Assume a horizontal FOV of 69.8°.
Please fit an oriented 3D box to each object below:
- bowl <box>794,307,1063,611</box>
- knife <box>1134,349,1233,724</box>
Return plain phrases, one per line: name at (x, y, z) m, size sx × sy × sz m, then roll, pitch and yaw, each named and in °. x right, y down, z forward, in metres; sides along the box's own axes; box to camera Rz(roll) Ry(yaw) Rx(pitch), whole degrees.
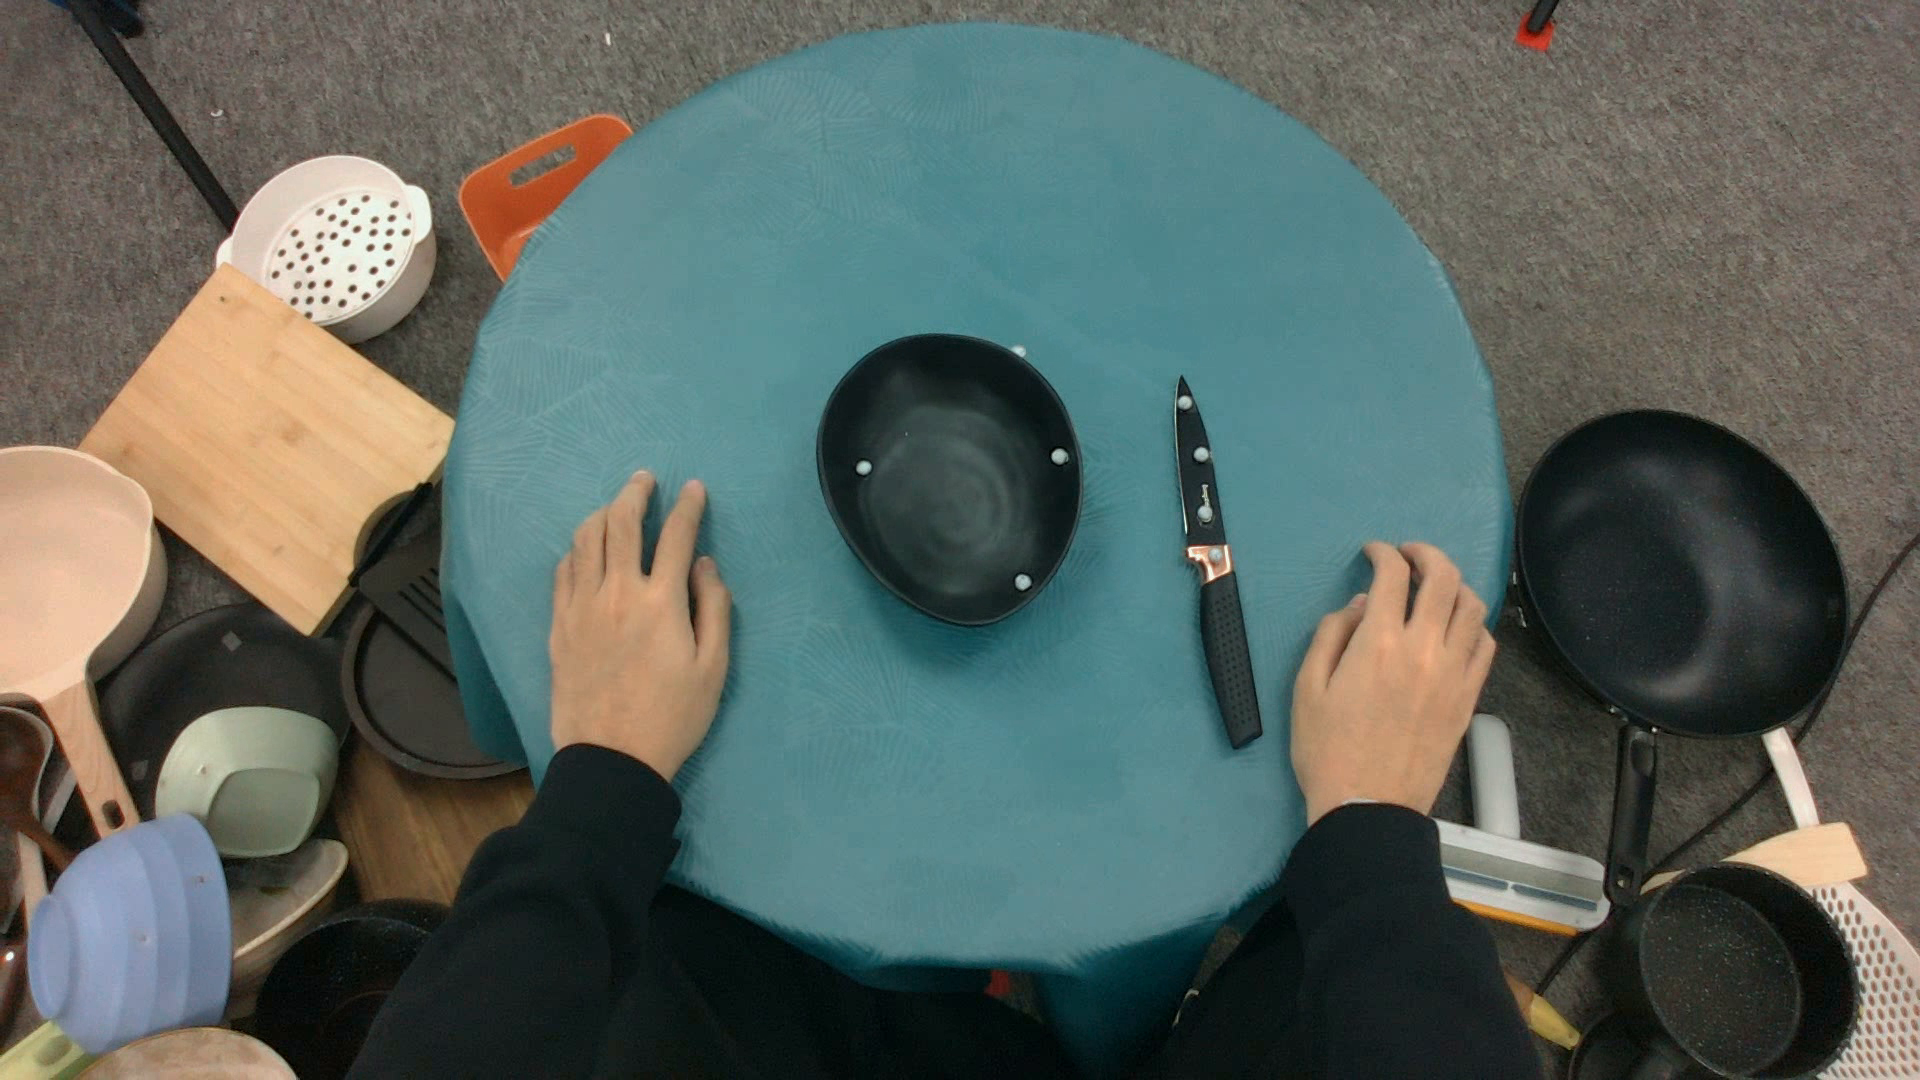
bowl at (-0.015, -0.039, 0.738) m, size 0.137 × 0.066 × 0.170 m, roll -15°, pitch 70°, yaw -7°
knife at (0.122, -0.008, 0.756) m, size 0.026 × 0.017 × 0.226 m, roll -2°, pitch 66°, yaw -9°
